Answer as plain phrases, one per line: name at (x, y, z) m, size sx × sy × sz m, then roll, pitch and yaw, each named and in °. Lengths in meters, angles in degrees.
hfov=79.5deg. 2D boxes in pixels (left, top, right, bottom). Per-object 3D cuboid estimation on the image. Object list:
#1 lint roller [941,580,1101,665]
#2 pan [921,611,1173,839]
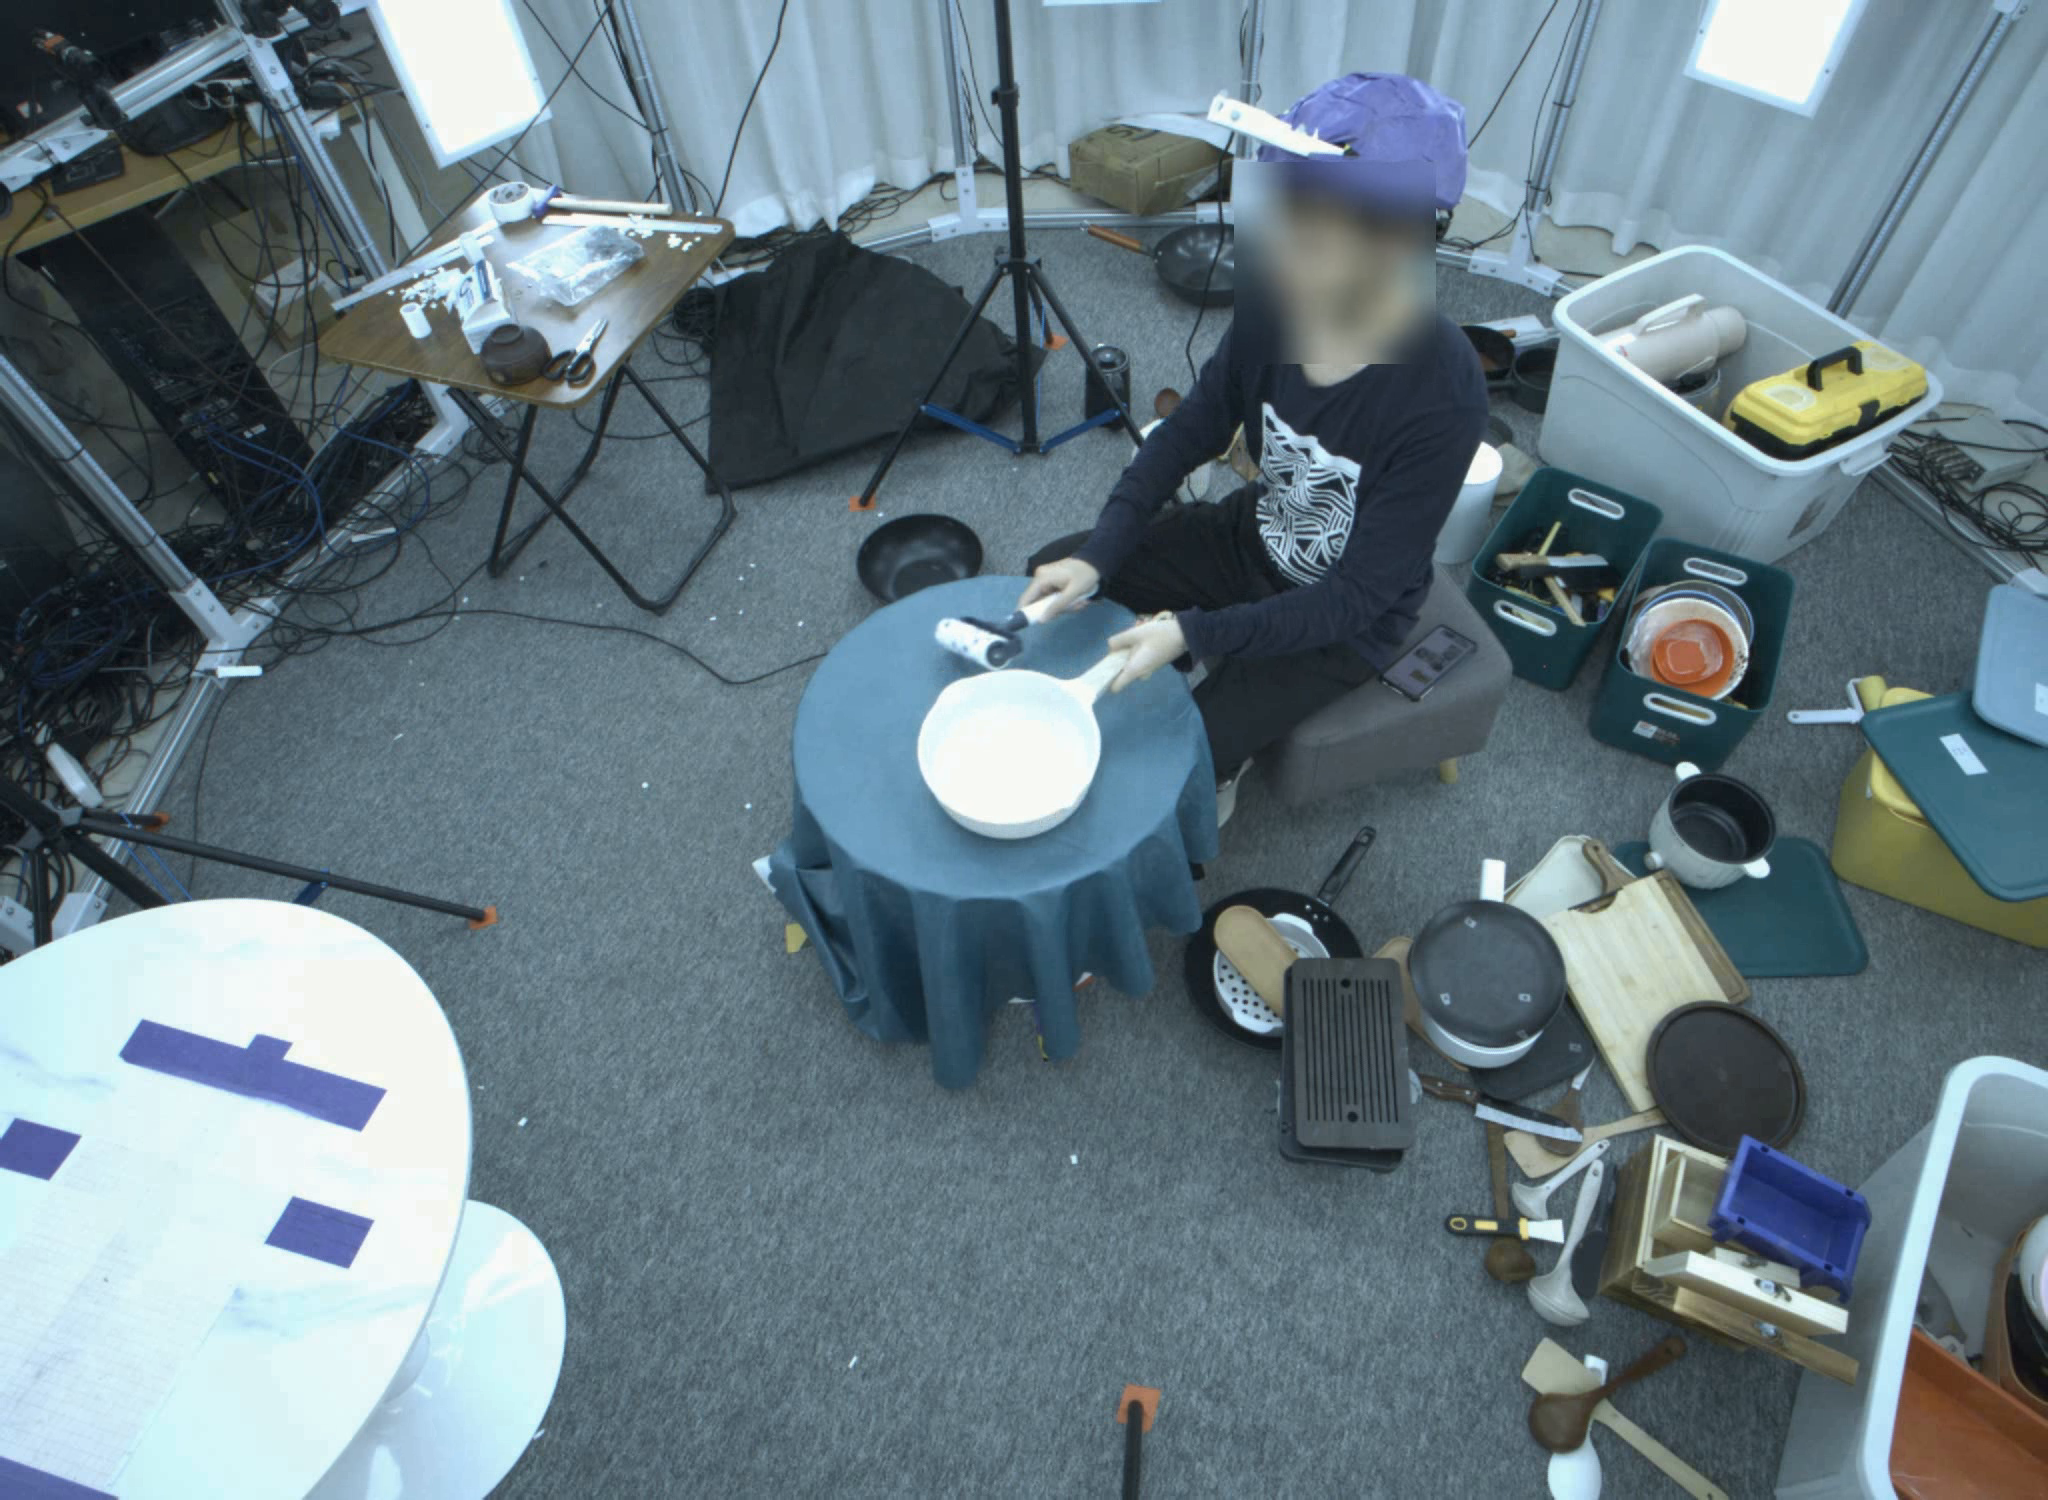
lint roller at (0.011, -0.208, 1.854) m, size 0.249 × 0.051 × 0.172 m, roll -30°, pitch 28°, yaw -22°
pan at (0.054, -0.044, 1.749) m, size 0.438 × 0.103 × 0.259 m, roll -38°, pitch 65°, yaw -20°
